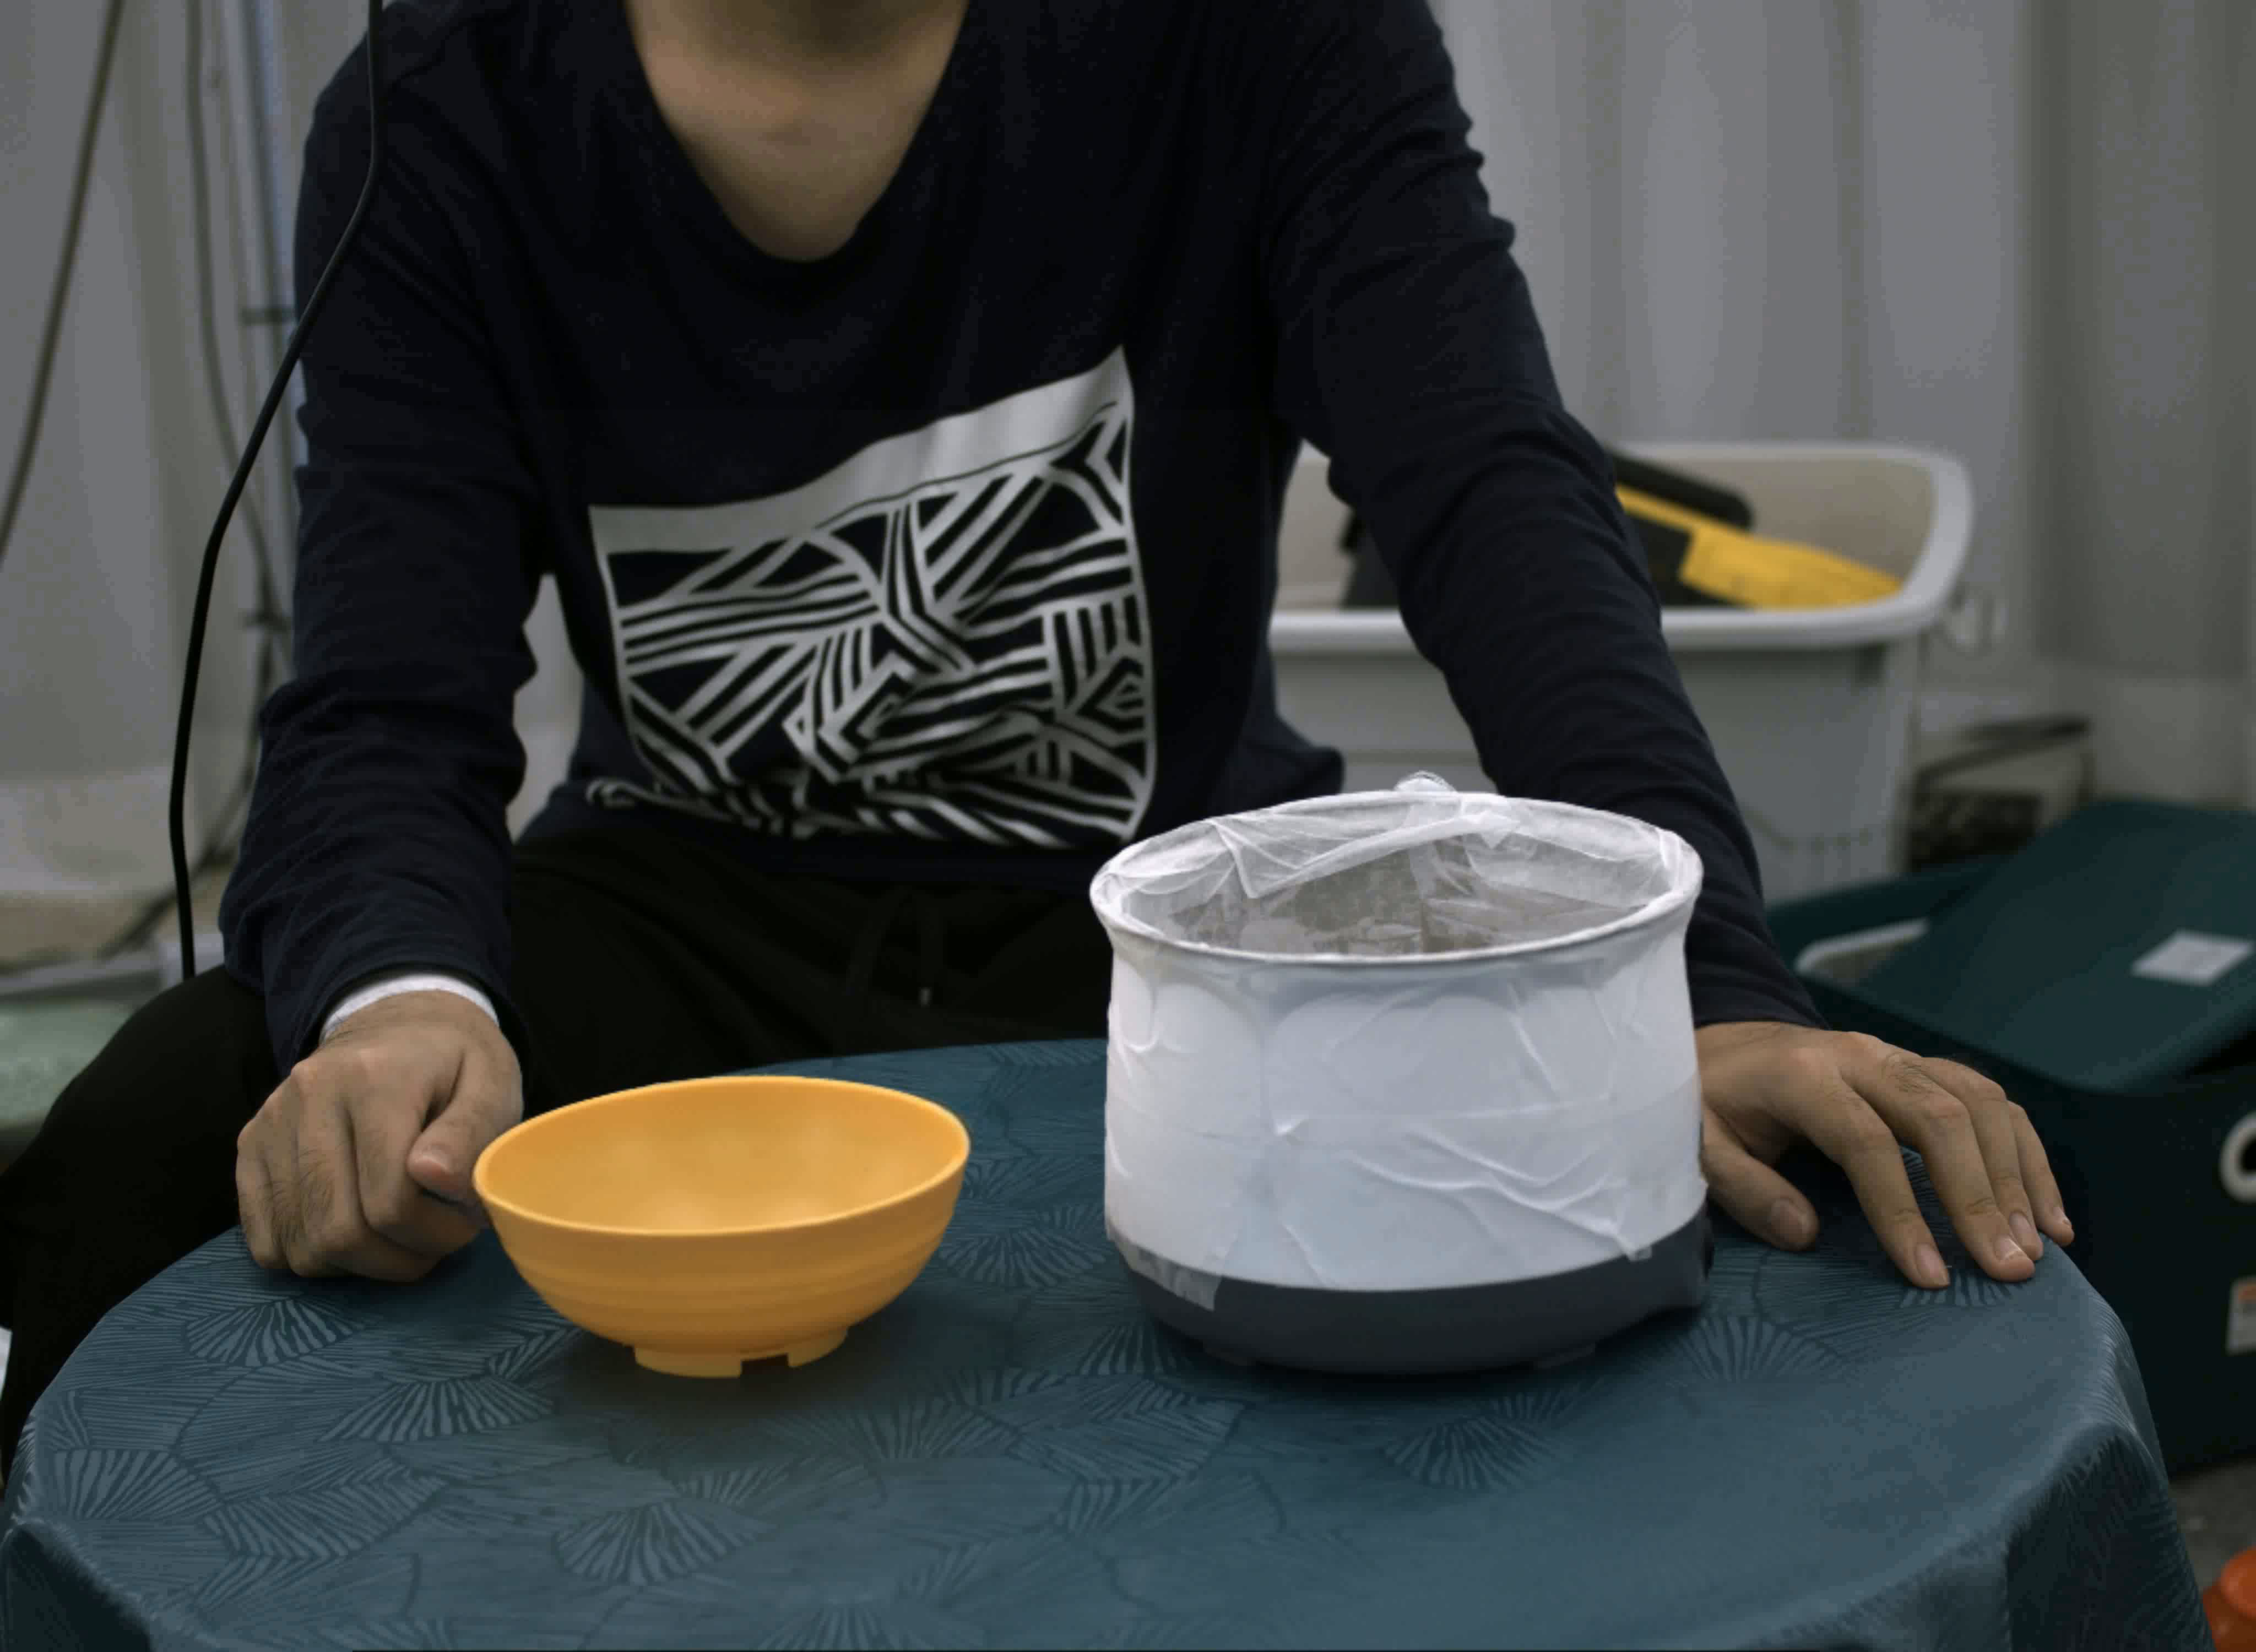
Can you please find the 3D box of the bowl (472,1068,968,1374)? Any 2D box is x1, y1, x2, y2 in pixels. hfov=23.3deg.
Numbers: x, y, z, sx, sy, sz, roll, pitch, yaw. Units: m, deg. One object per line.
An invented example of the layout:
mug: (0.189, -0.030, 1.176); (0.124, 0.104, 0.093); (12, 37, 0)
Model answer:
bowl: (-0.118, 0.121, 1.597); (0.145, 0.060, 0.146); (-1, 15, 0)

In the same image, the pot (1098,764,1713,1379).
pot: (0.083, 0.067, 1.615); (0.178, 0.136, 0.235); (1, 16, 6)
